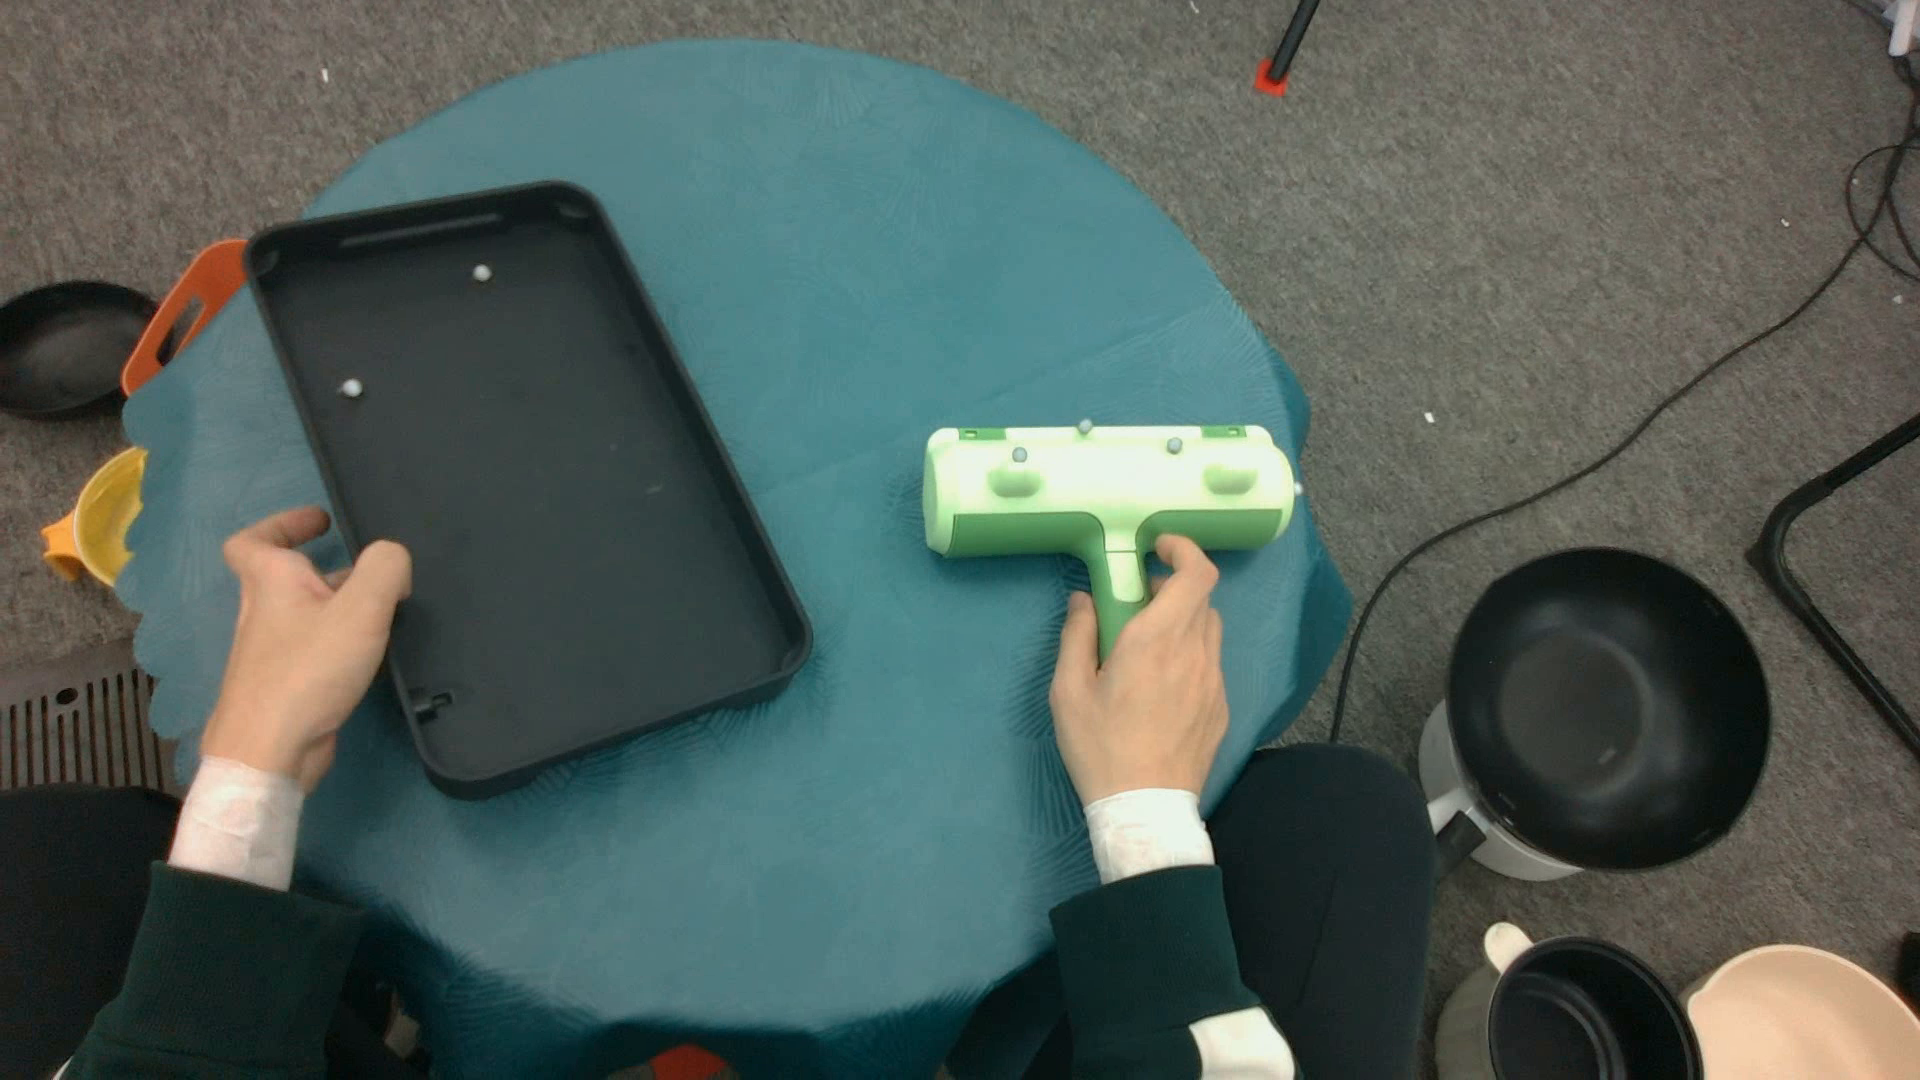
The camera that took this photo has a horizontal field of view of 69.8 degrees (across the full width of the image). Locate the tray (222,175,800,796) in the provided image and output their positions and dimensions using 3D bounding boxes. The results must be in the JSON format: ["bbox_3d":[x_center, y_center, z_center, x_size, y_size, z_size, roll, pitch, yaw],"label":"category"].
[{"bbox_3d":[-0.224,-0.042,0.683,0.185,0.037,0.318,-19,68,-28],"label":"tray"}]

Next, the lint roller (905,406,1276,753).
[{"bbox_3d":[0.079,0.011,0.702,0.199,0.082,0.184,-2,61,-13],"label":"lint roller"}]
